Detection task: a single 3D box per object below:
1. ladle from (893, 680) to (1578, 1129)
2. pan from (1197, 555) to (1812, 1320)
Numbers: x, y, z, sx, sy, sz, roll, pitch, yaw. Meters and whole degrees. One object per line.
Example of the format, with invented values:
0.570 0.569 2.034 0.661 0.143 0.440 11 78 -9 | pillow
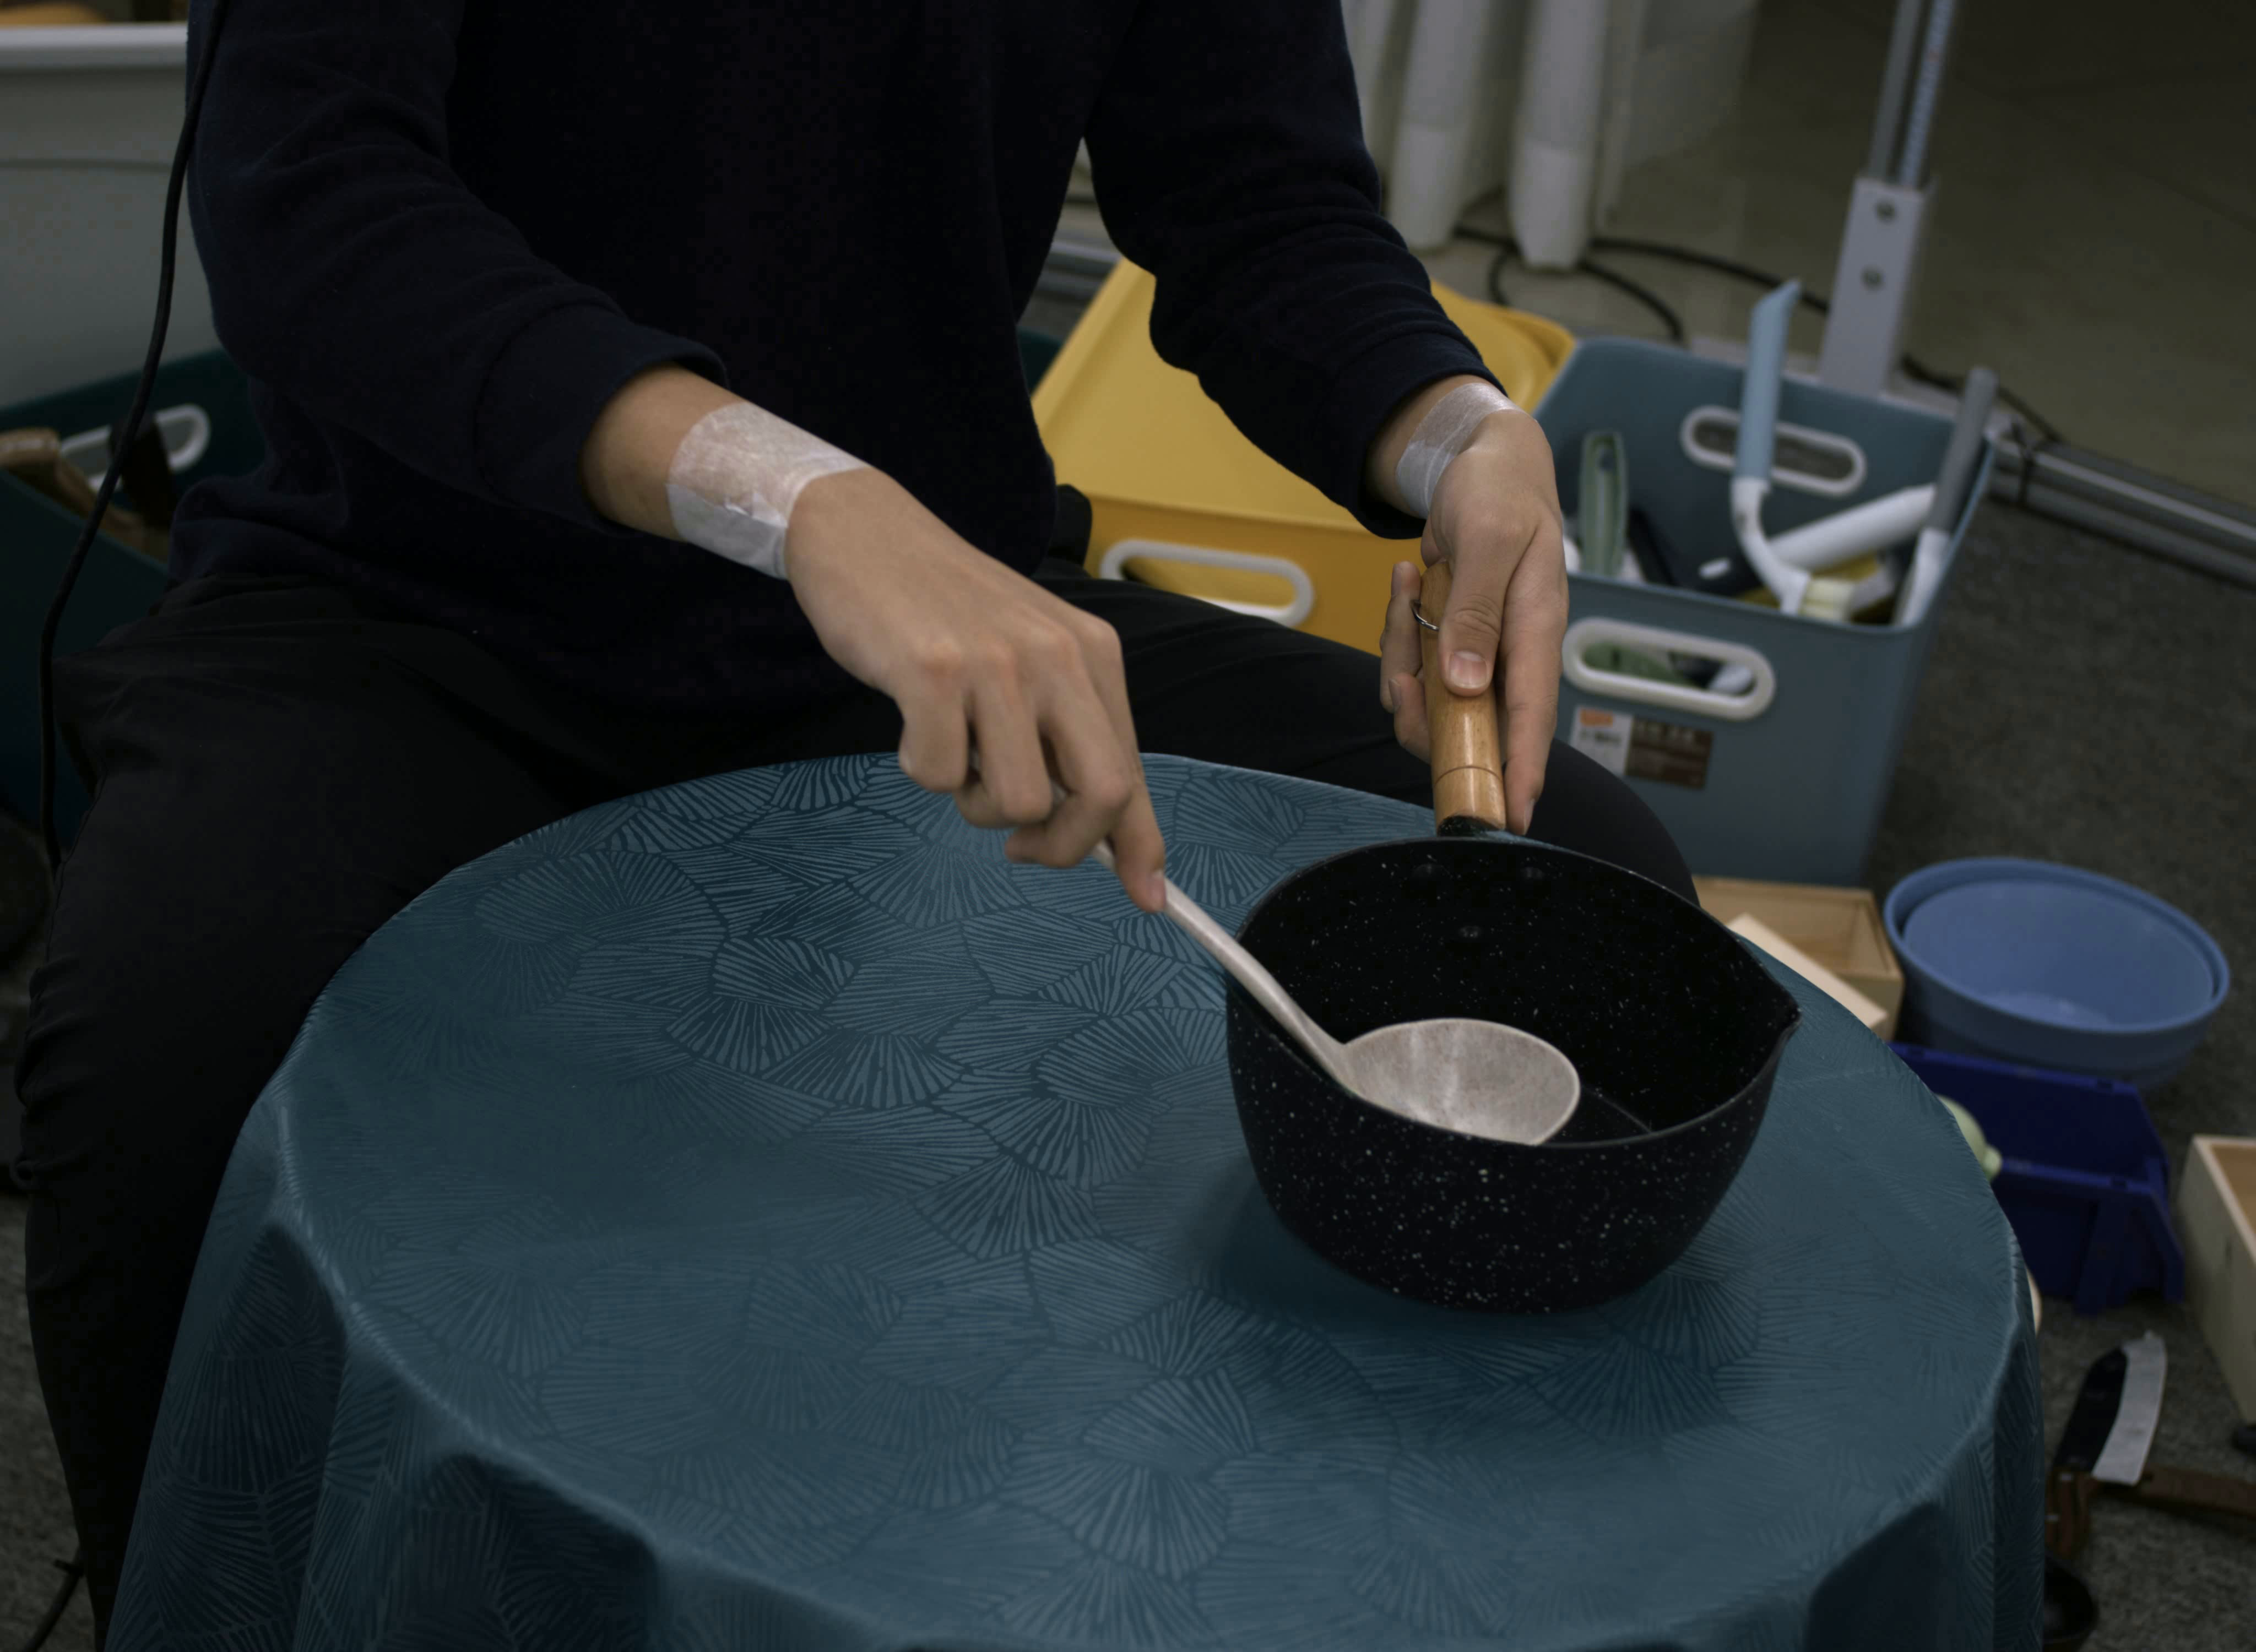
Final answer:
0.039 0.022 1.729 0.273 0.069 0.090 44 19 -27 | ladle
0.120 0.035 1.858 0.206 0.108 0.345 3 33 -5 | pan
